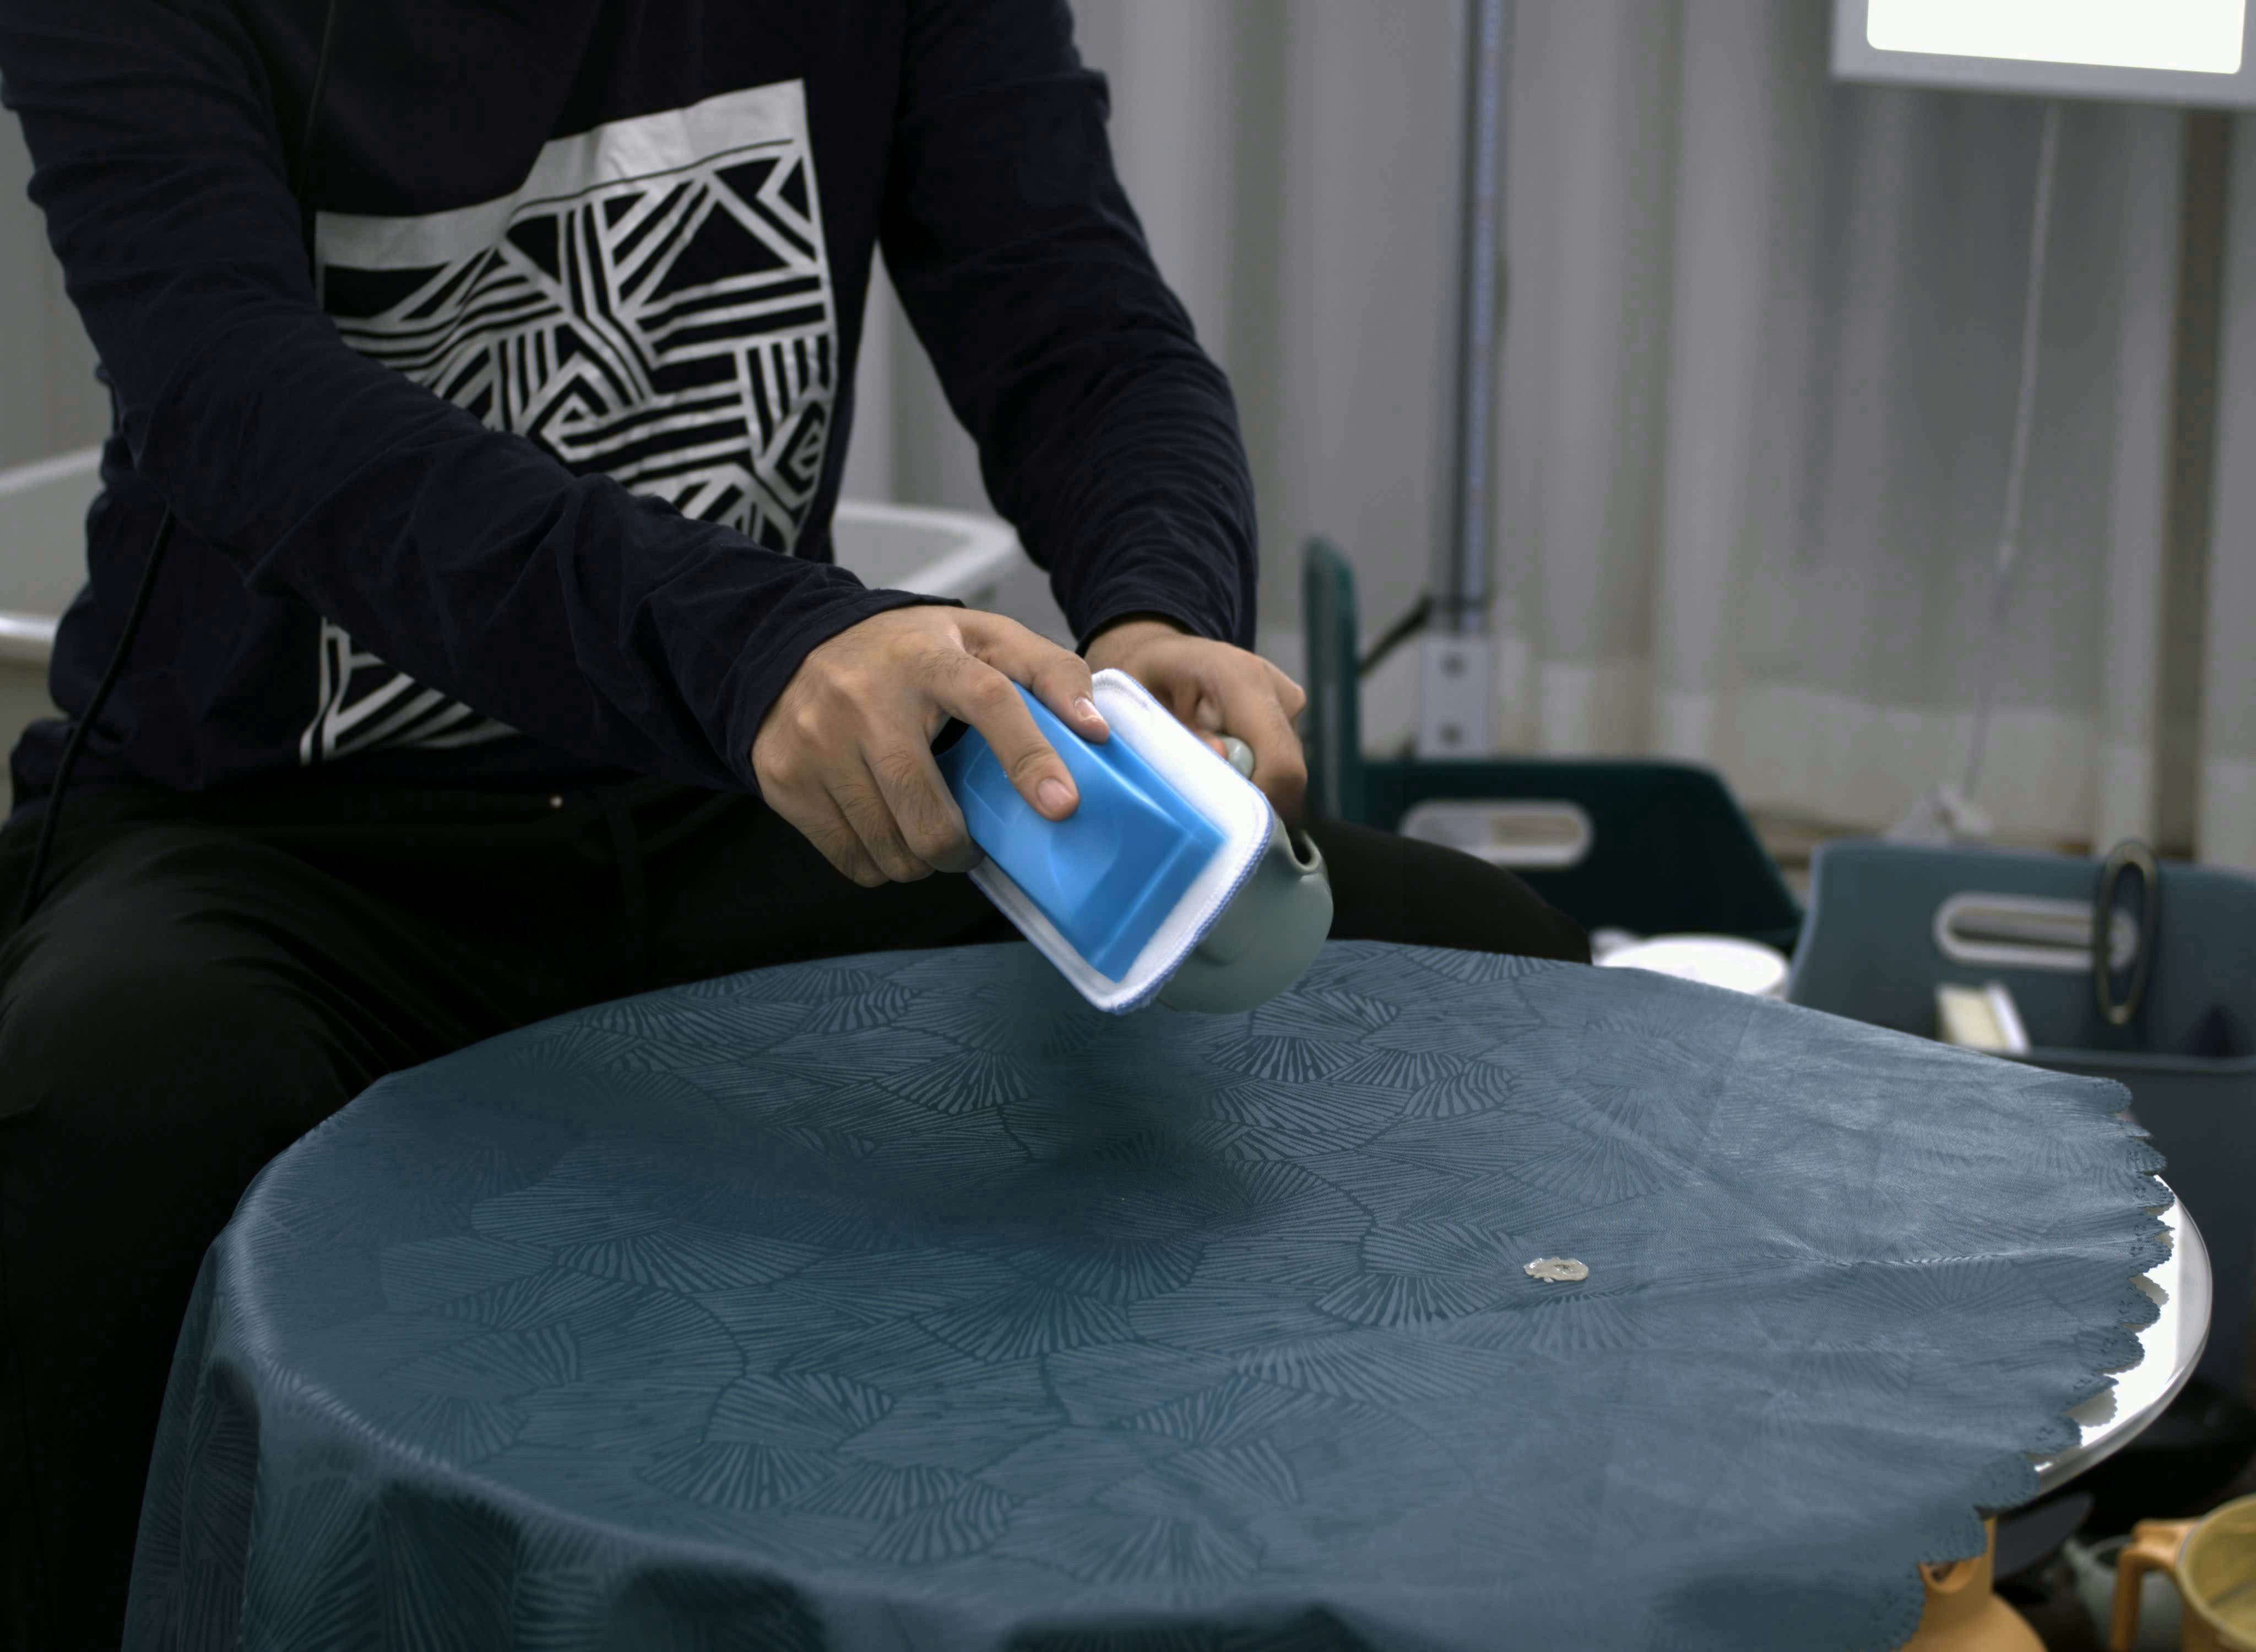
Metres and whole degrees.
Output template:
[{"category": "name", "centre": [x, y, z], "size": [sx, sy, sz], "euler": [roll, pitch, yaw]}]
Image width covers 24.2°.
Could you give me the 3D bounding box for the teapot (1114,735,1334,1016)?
[{"category": "teapot", "centre": [0.022, 0.017, 1.643], "size": [0.089, 0.075, 0.143], "euler": [38, 8, -14]}]

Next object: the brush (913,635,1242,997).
[{"category": "brush", "centre": [-0.024, -0.009, 1.592], "size": [0.056, 0.084, 0.142], "euler": [38, 5, -35]}]
